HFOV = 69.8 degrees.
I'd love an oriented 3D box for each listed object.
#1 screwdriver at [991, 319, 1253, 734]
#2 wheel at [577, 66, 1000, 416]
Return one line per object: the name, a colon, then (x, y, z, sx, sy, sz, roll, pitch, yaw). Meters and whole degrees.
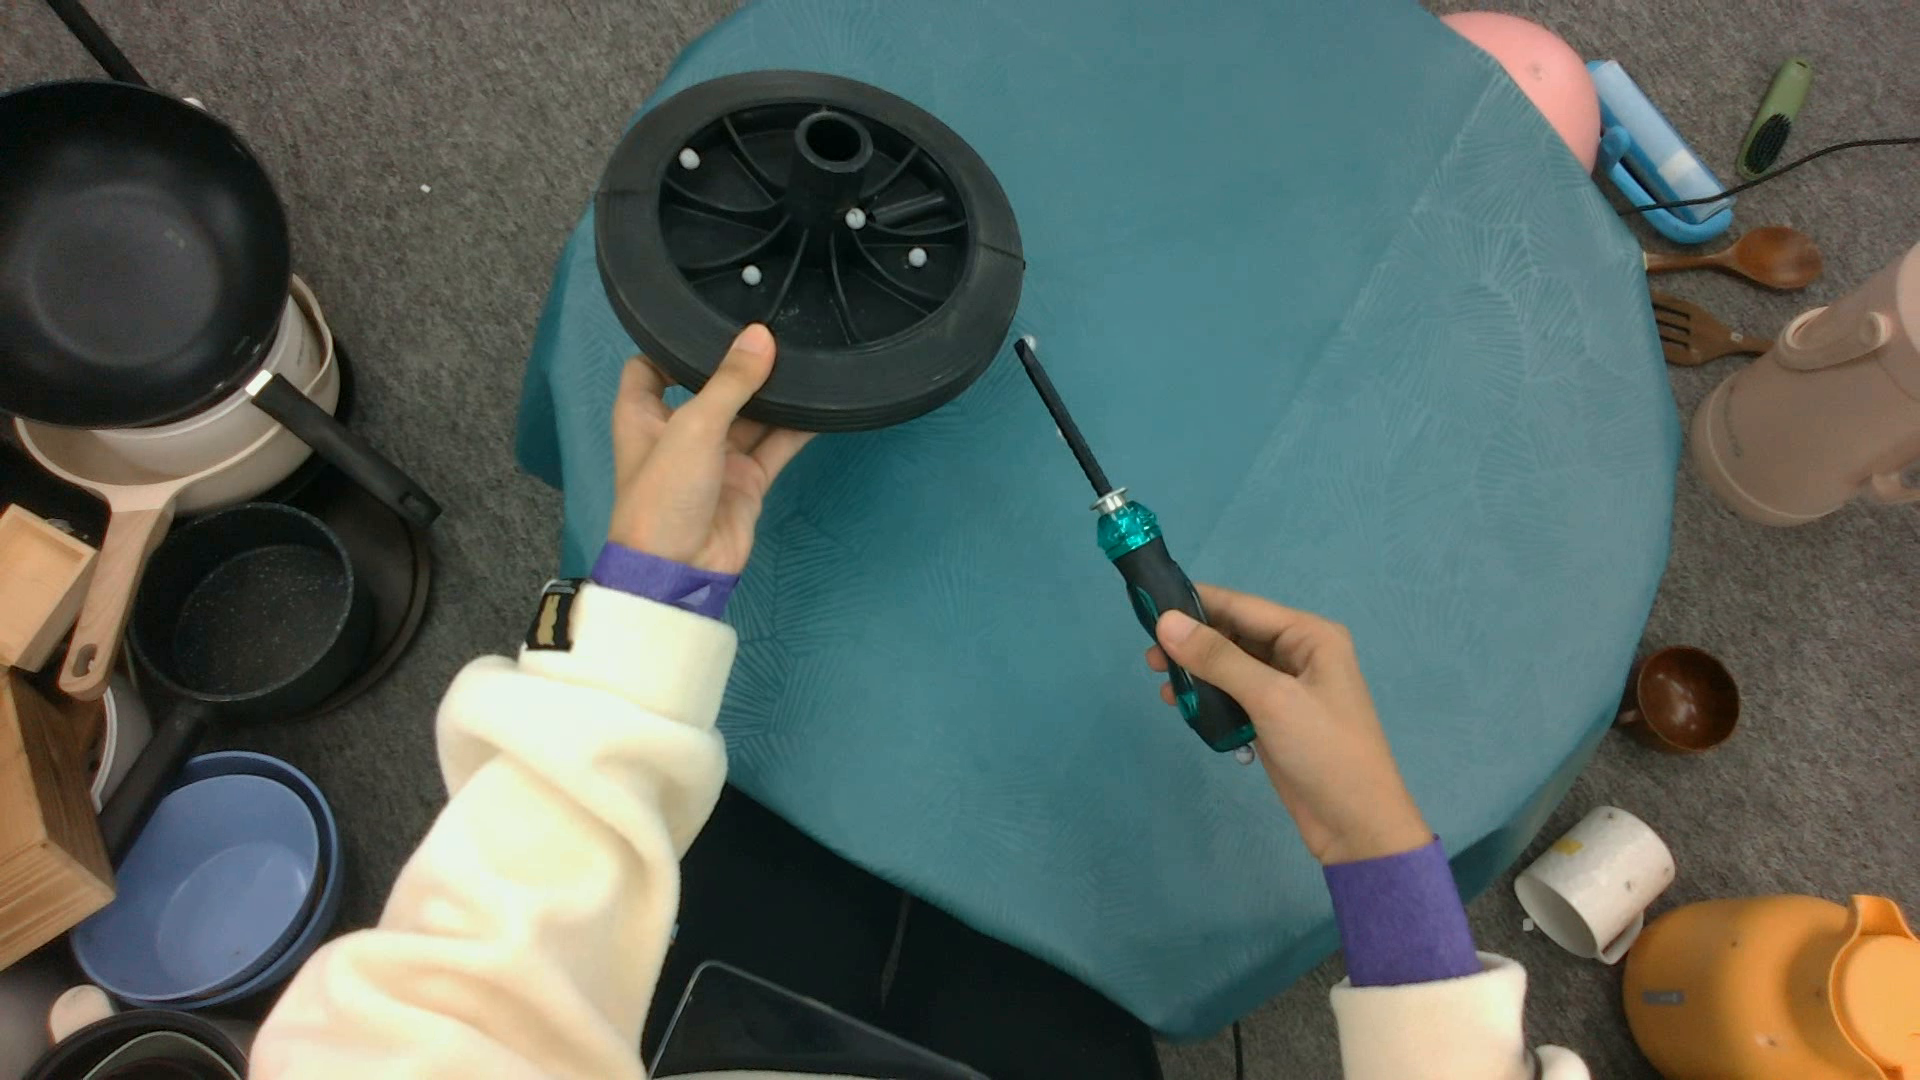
screwdriver: (0.061, -0.008, 0.561, 0.034, 0.033, 0.190, -29, 84, -14)
wheel: (-0.068, -0.148, 0.595, 0.187, 0.079, 0.191, 37, 57, 6)
